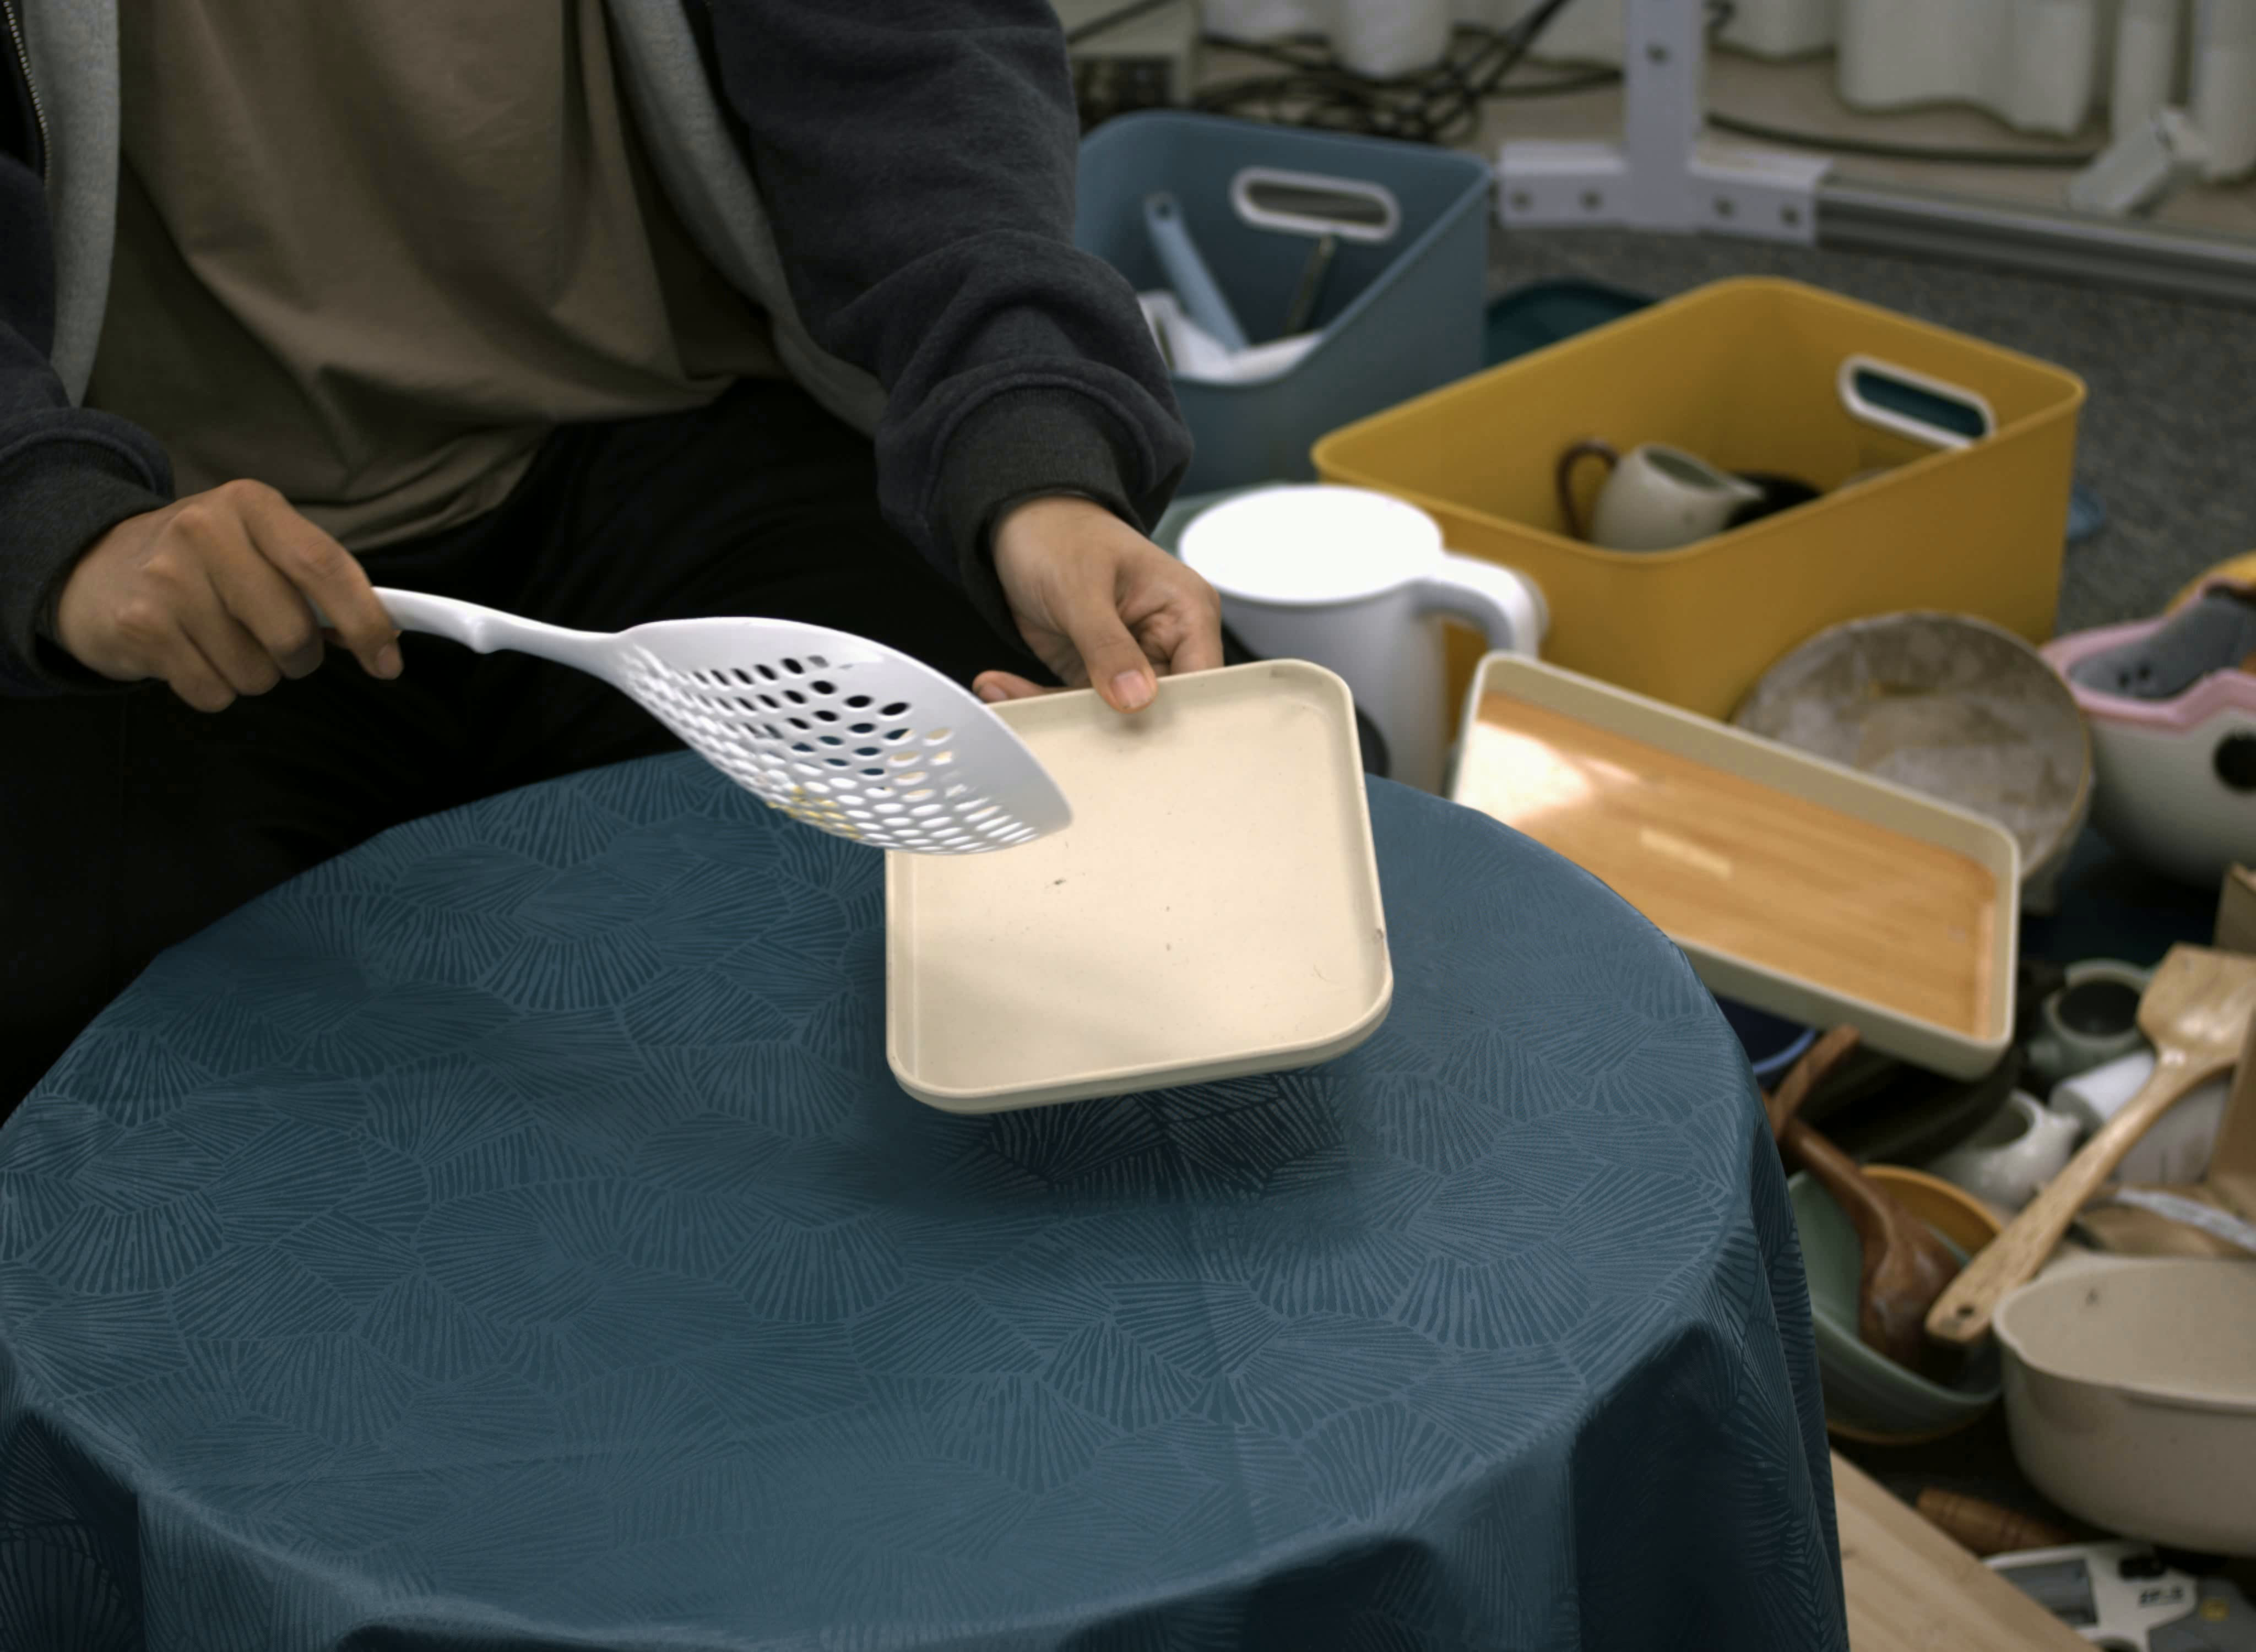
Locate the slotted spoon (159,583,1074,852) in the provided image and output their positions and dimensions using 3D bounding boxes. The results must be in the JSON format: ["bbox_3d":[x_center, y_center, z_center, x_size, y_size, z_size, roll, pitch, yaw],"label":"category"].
[{"bbox_3d":[-0.178,-0.047,1.872,0.346,0.135,0.051,17,72,30],"label":"slotted spoon"}]

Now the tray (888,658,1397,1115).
[{"bbox_3d":[0.002,0.020,1.930,0.170,0.017,0.244,-9,32,3],"label":"tray"}]
